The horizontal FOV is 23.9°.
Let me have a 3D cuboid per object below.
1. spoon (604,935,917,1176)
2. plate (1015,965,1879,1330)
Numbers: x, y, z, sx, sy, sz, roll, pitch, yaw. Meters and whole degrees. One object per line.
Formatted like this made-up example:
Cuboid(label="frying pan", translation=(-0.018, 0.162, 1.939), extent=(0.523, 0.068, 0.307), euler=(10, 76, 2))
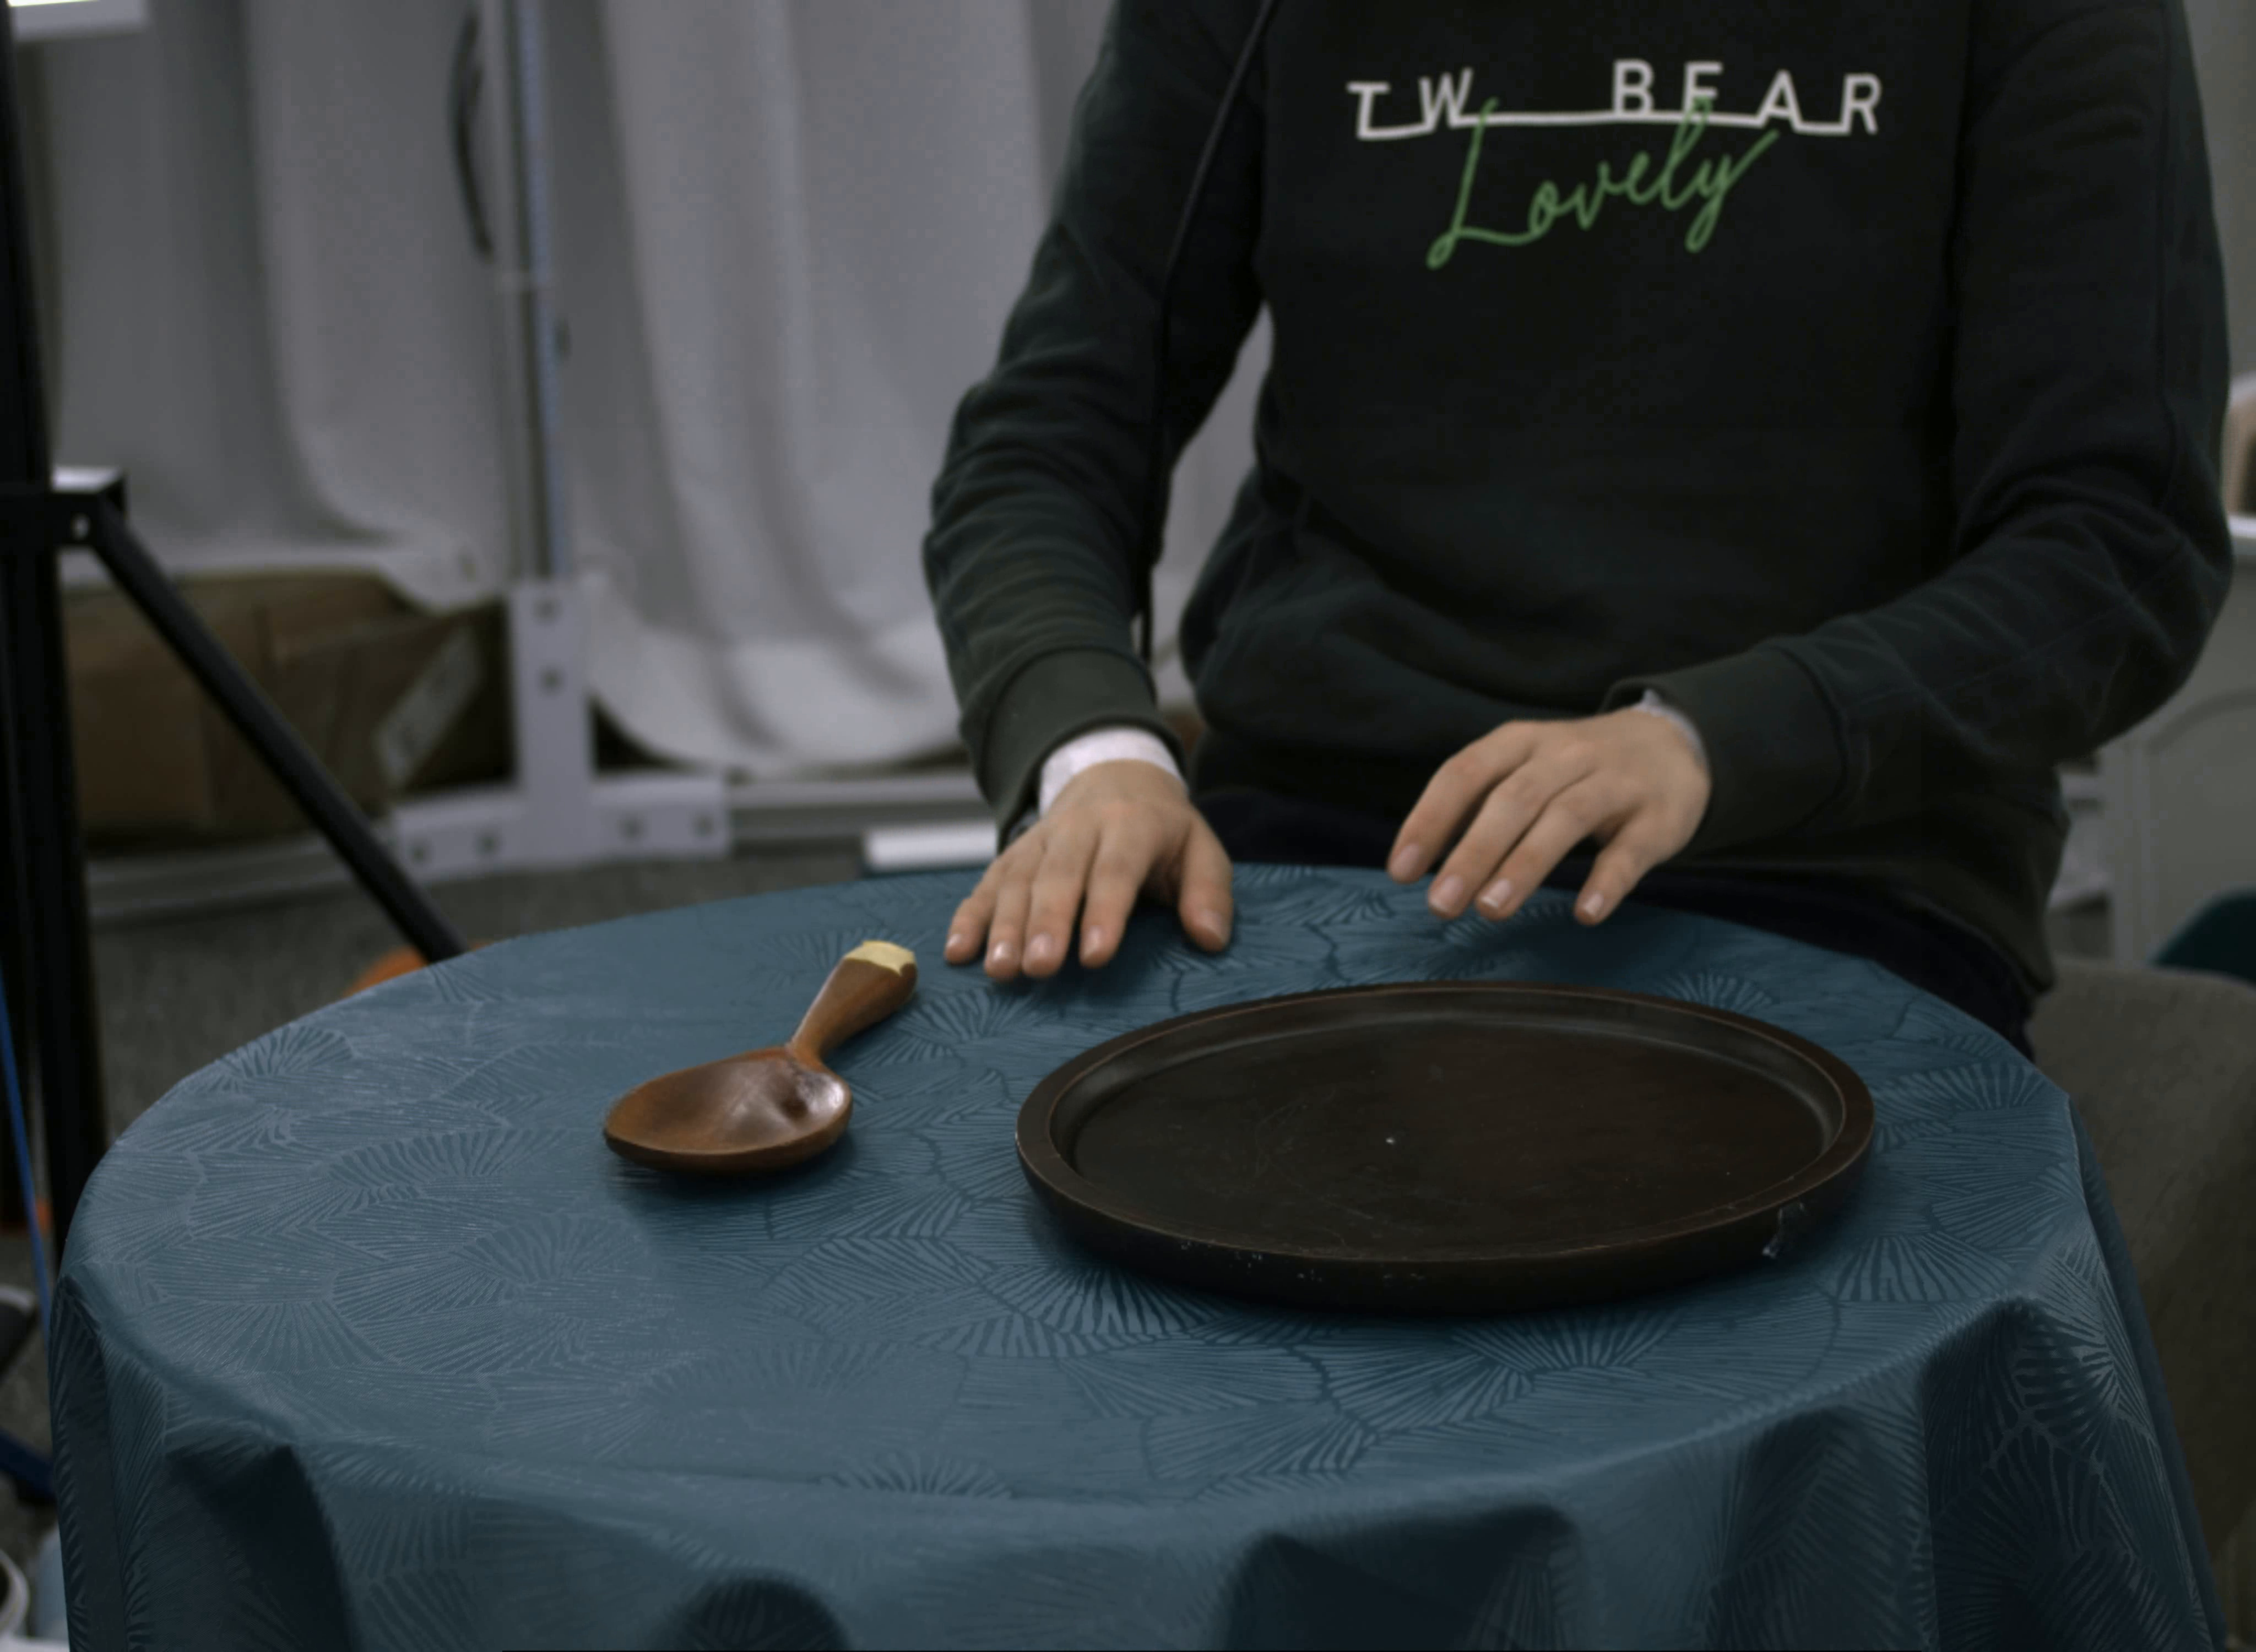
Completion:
Cuboid(label="spoon", translation=(-0.104, 0.073, 1.666), extent=(0.076, 0.017, 0.214), euler=(1, 17, 14))
Cuboid(label="plate", translation=(0.093, 0.094, 1.552), extent=(0.253, 0.029, 0.256), euler=(-3, 17, -1))
